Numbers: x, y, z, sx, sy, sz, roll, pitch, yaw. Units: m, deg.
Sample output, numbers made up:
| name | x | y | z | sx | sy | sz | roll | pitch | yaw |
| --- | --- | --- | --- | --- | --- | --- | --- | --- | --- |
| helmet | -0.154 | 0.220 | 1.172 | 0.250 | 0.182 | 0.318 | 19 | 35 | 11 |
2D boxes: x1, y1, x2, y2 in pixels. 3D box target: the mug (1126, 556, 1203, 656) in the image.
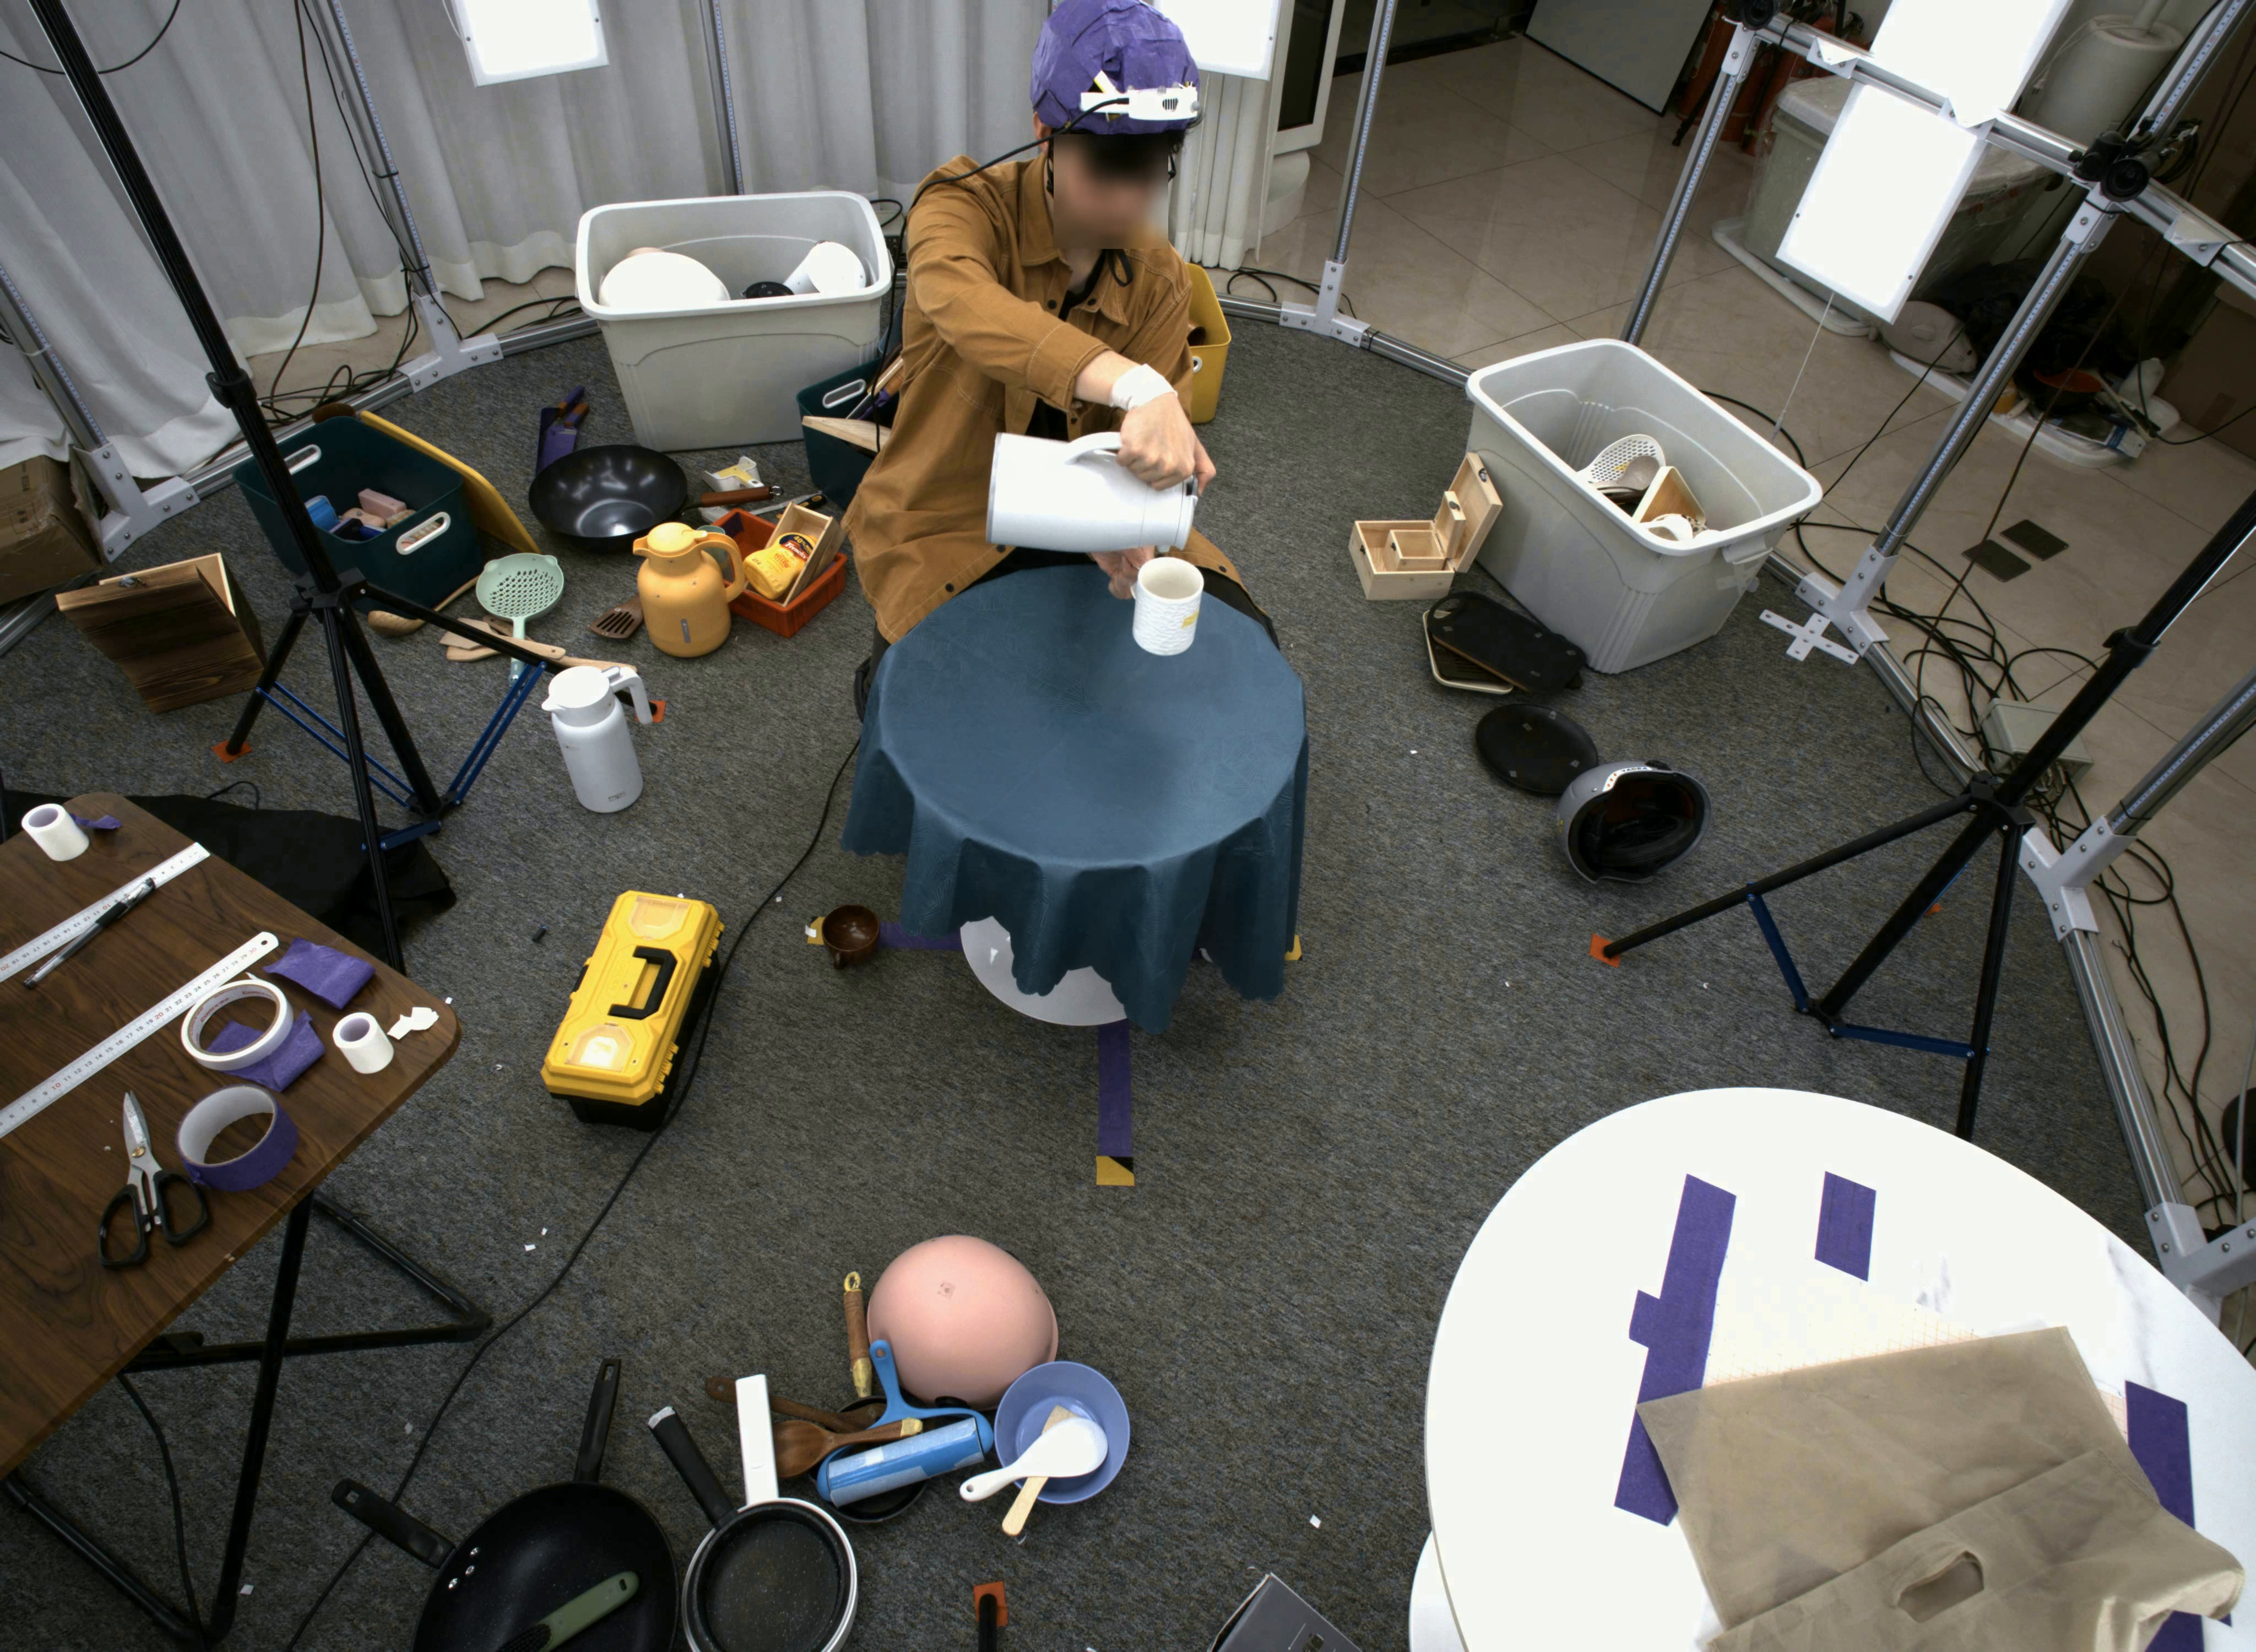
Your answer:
| name | x | y | z | sx | sy | sz | roll | pitch | yaw |
| --- | --- | --- | --- | --- | --- | --- | --- | --- | --- |
| mug | 0.040 | -0.297 | 1.695 | 0.085 | 0.099 | 0.120 | -31 | 60 | -27 |

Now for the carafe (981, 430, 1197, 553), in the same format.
| name | x | y | z | sx | sy | sz | roll | pitch | yaw |
| --- | --- | --- | --- | --- | --- | --- | --- | --- | --- |
| carafe | -0.044 | -0.402 | 1.542 | 0.248 | 0.164 | 0.135 | 7 | 58 | -3 |
